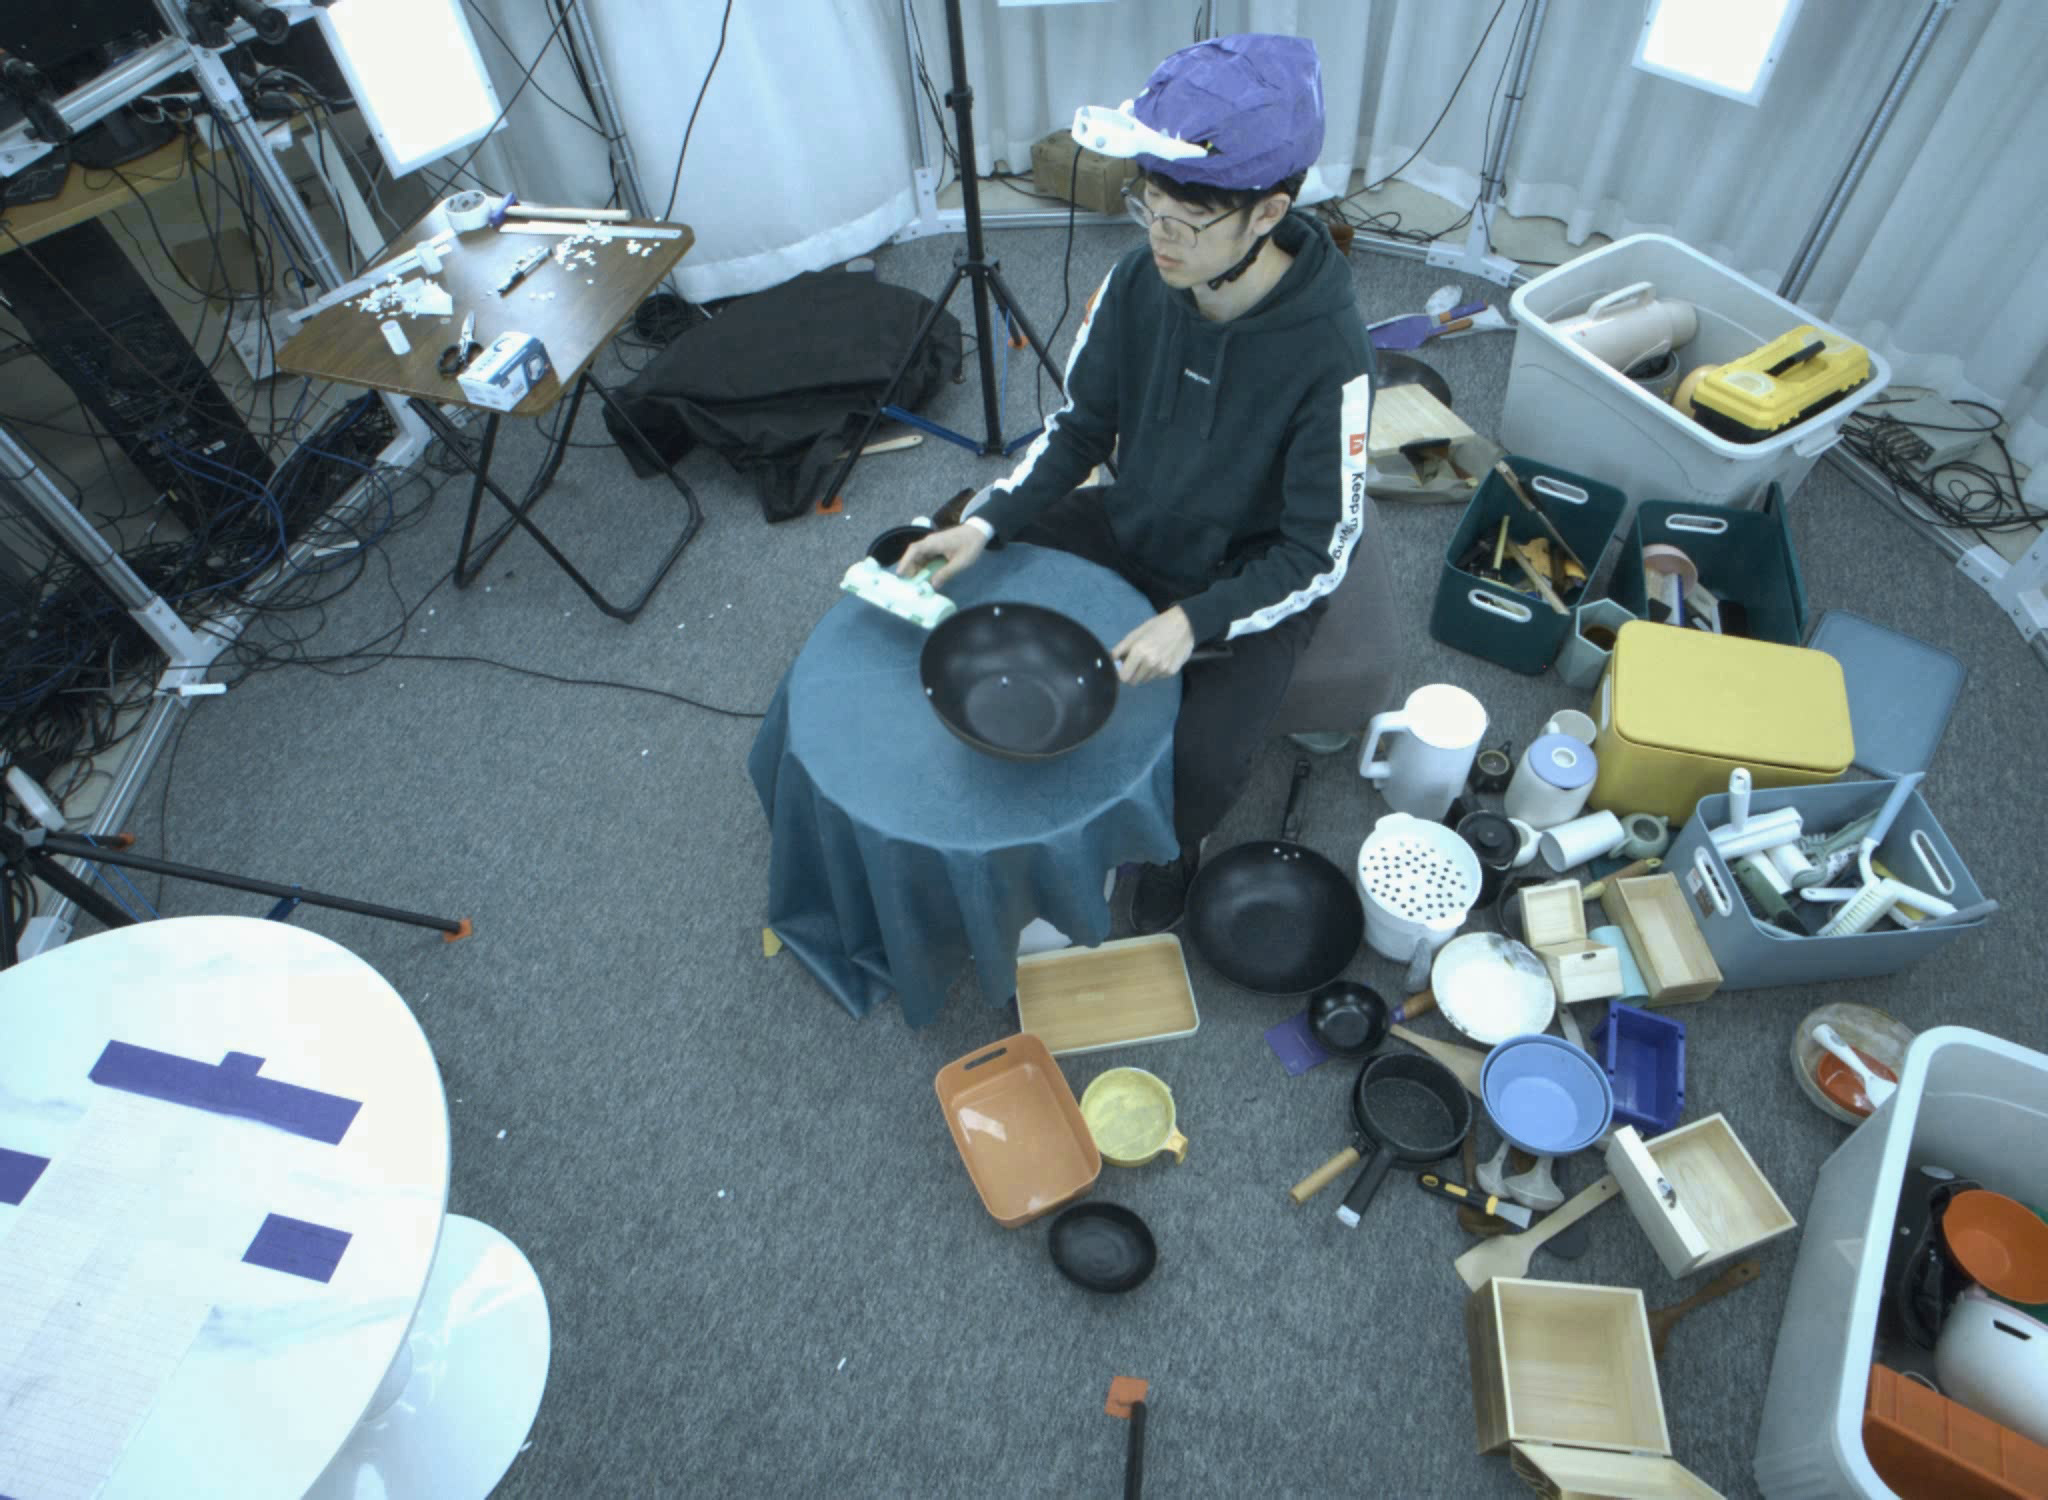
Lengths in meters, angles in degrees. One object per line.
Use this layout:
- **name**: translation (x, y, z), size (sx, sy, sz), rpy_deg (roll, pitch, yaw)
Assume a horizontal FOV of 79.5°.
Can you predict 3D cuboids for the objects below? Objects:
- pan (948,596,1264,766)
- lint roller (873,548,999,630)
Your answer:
- **pan**: translation (0.114, -0.092, 1.728), size (0.469, 0.087, 0.284), rpy_deg (-6, 58, -19)
- **lint roller**: translation (-0.108, -0.277, 1.886), size (0.194, 0.083, 0.184), rpy_deg (28, 61, 30)
